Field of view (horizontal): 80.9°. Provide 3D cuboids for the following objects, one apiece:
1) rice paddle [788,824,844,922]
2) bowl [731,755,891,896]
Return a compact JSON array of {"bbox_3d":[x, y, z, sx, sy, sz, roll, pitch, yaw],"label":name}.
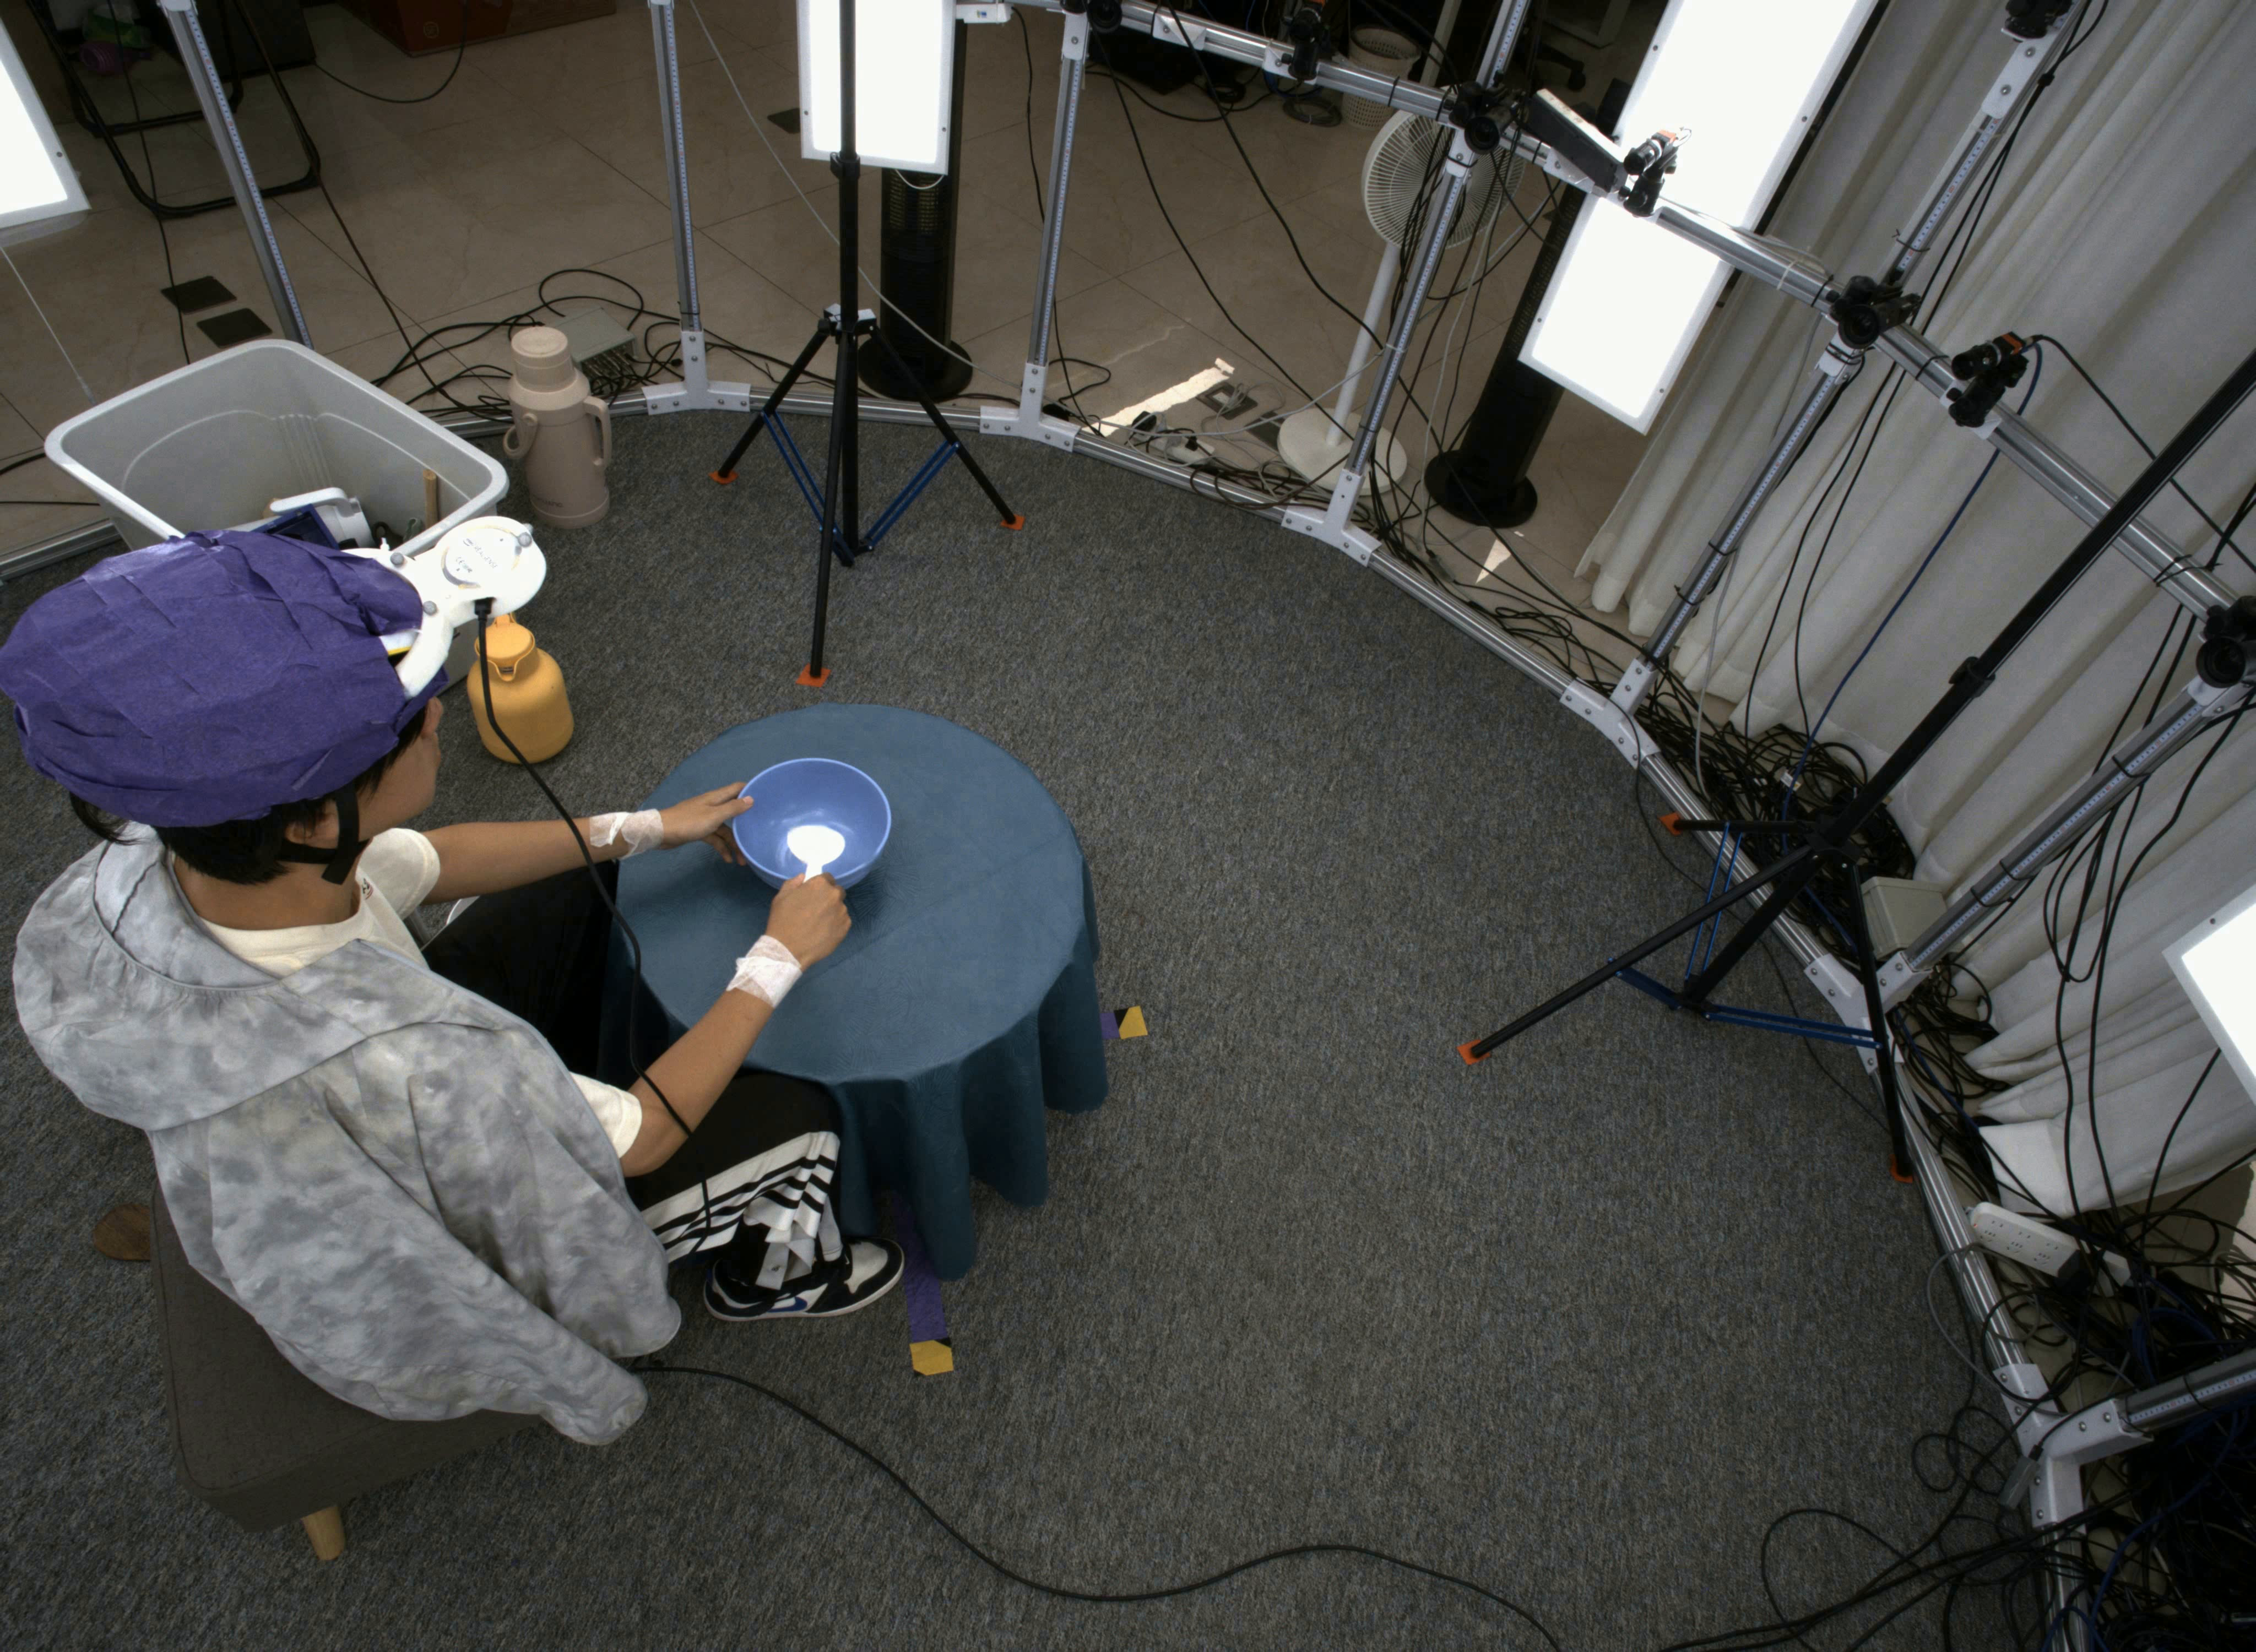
[{"bbox_3d":[-0.371,0.044,1.534,0.069,0.030,0.199,8,28,-16],"label":"rice paddle"},{"bbox_3d":[-0.404,0.015,1.658,0.196,0.097,0.193,9,52,-9],"label":"bowl"}]
